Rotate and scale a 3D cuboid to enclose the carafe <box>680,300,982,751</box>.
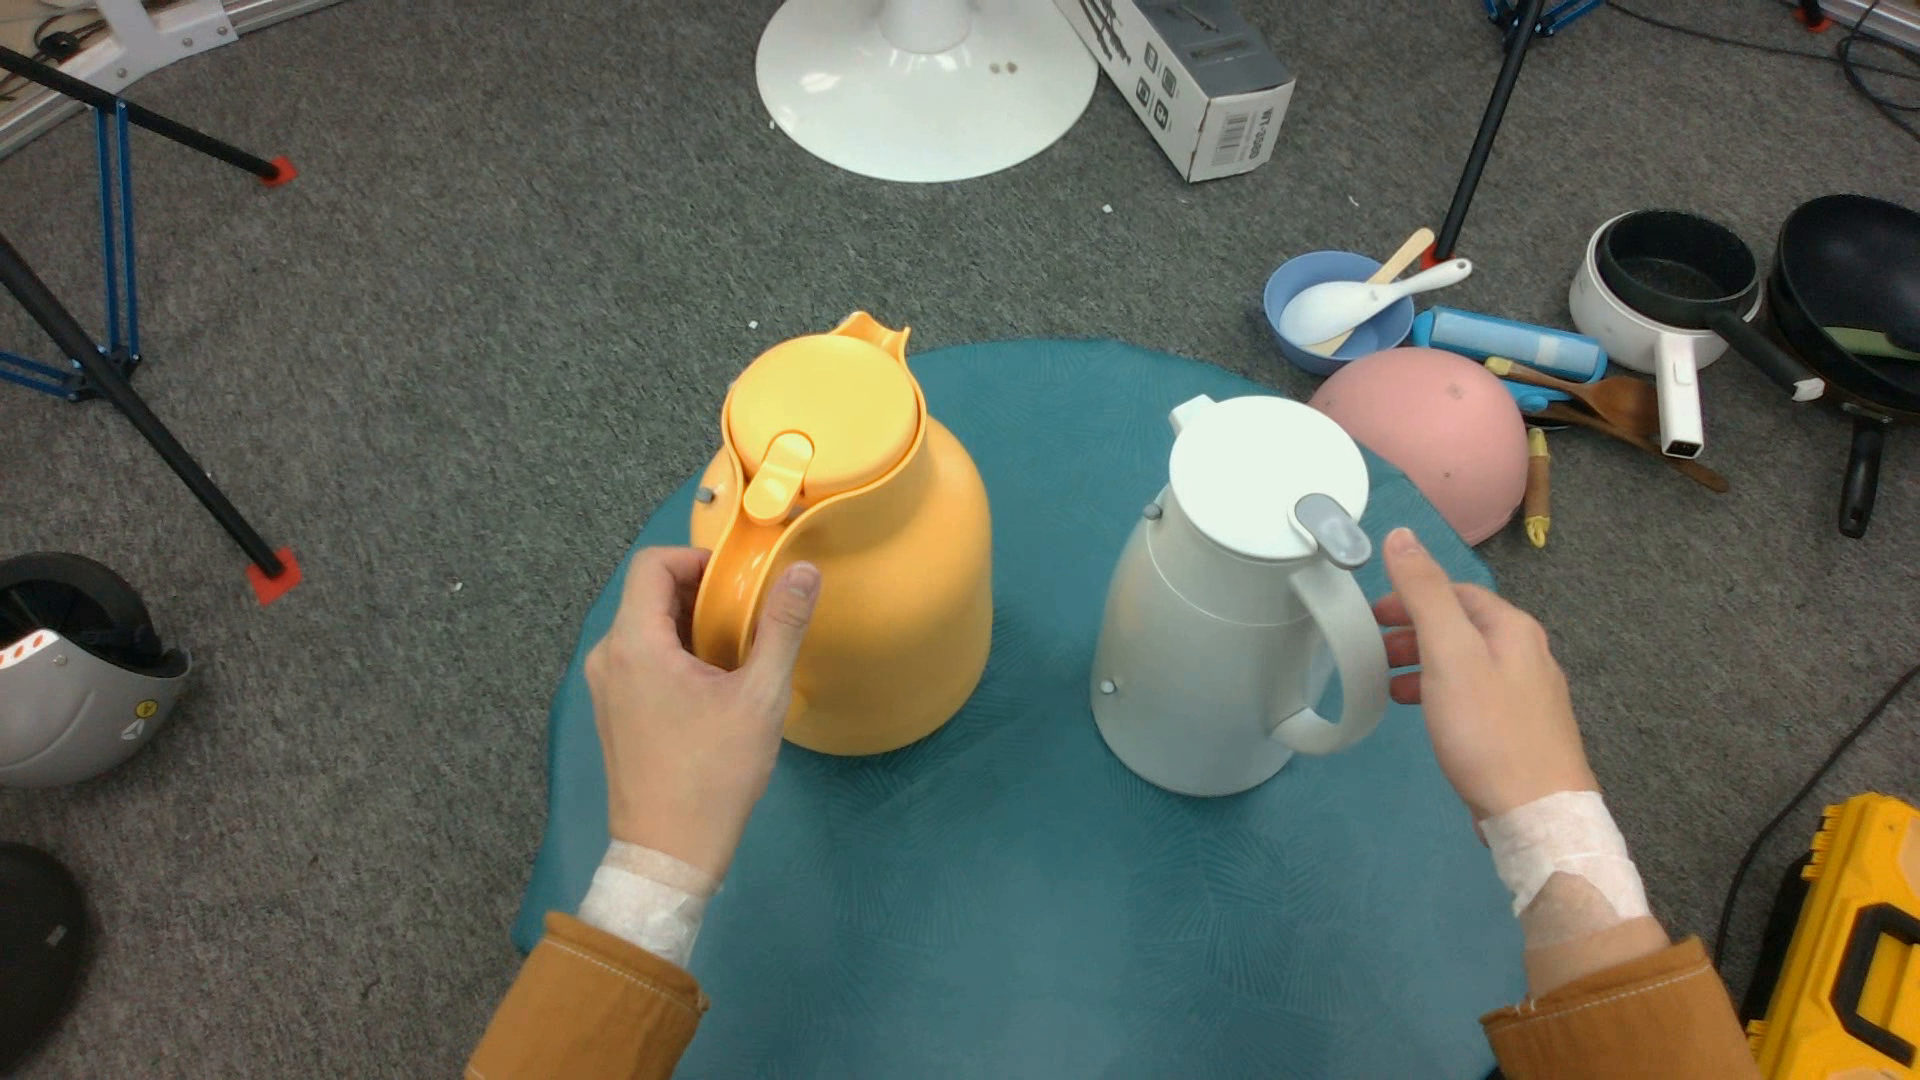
[{"bbox_3d":[-0.078,0.011,0.736,0.163,0.259,0.203,21,59,14],"label":"carafe"}]

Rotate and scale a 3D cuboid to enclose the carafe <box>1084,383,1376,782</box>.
[{"bbox_3d":[0.150,0.037,0.728,0.133,0.247,0.168,-27,63,-15],"label":"carafe"}]
